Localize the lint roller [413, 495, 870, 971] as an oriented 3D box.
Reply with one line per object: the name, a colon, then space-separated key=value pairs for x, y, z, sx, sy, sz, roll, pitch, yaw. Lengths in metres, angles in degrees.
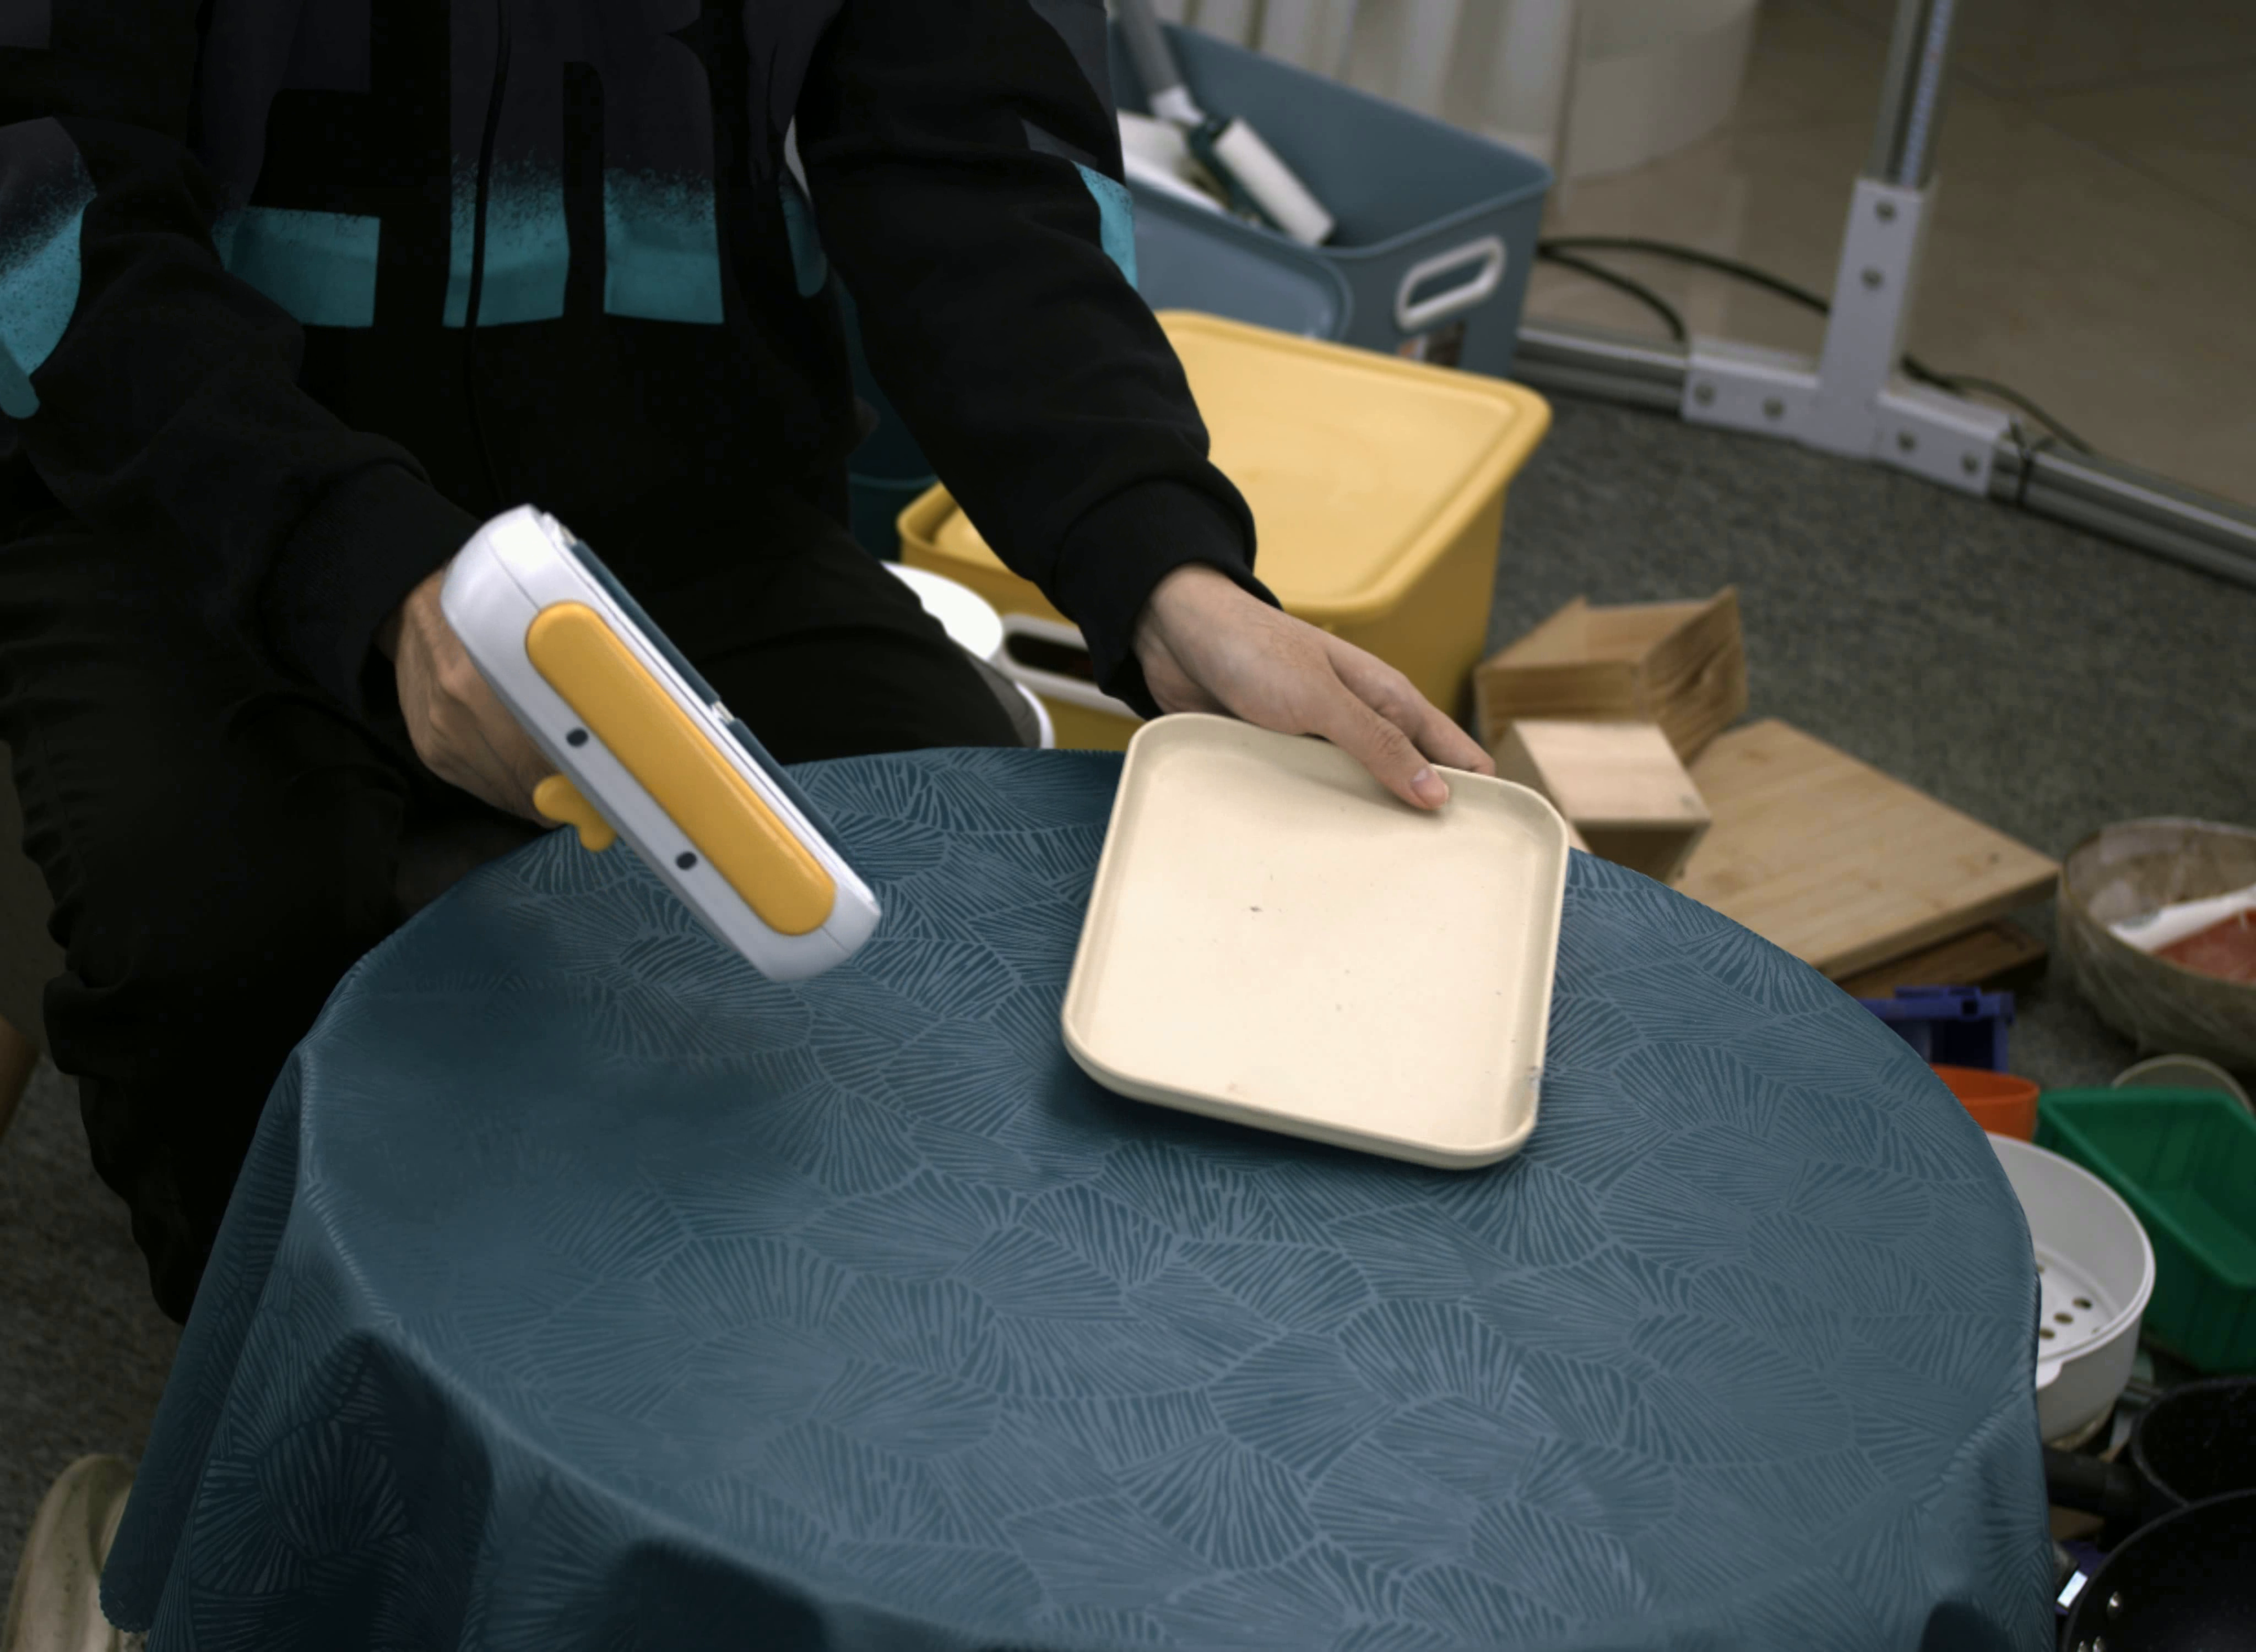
lint roller: x=-0.182 y=-0.034 z=1.843 sx=0.192 sy=0.074 sz=0.193 roll=43 pitch=-4 yaw=-17

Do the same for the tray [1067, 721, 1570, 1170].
tray: x=0.071 y=0.042 z=1.921 sx=0.171 sy=0.017 sz=0.241 roll=11 pitch=33 yaw=2
